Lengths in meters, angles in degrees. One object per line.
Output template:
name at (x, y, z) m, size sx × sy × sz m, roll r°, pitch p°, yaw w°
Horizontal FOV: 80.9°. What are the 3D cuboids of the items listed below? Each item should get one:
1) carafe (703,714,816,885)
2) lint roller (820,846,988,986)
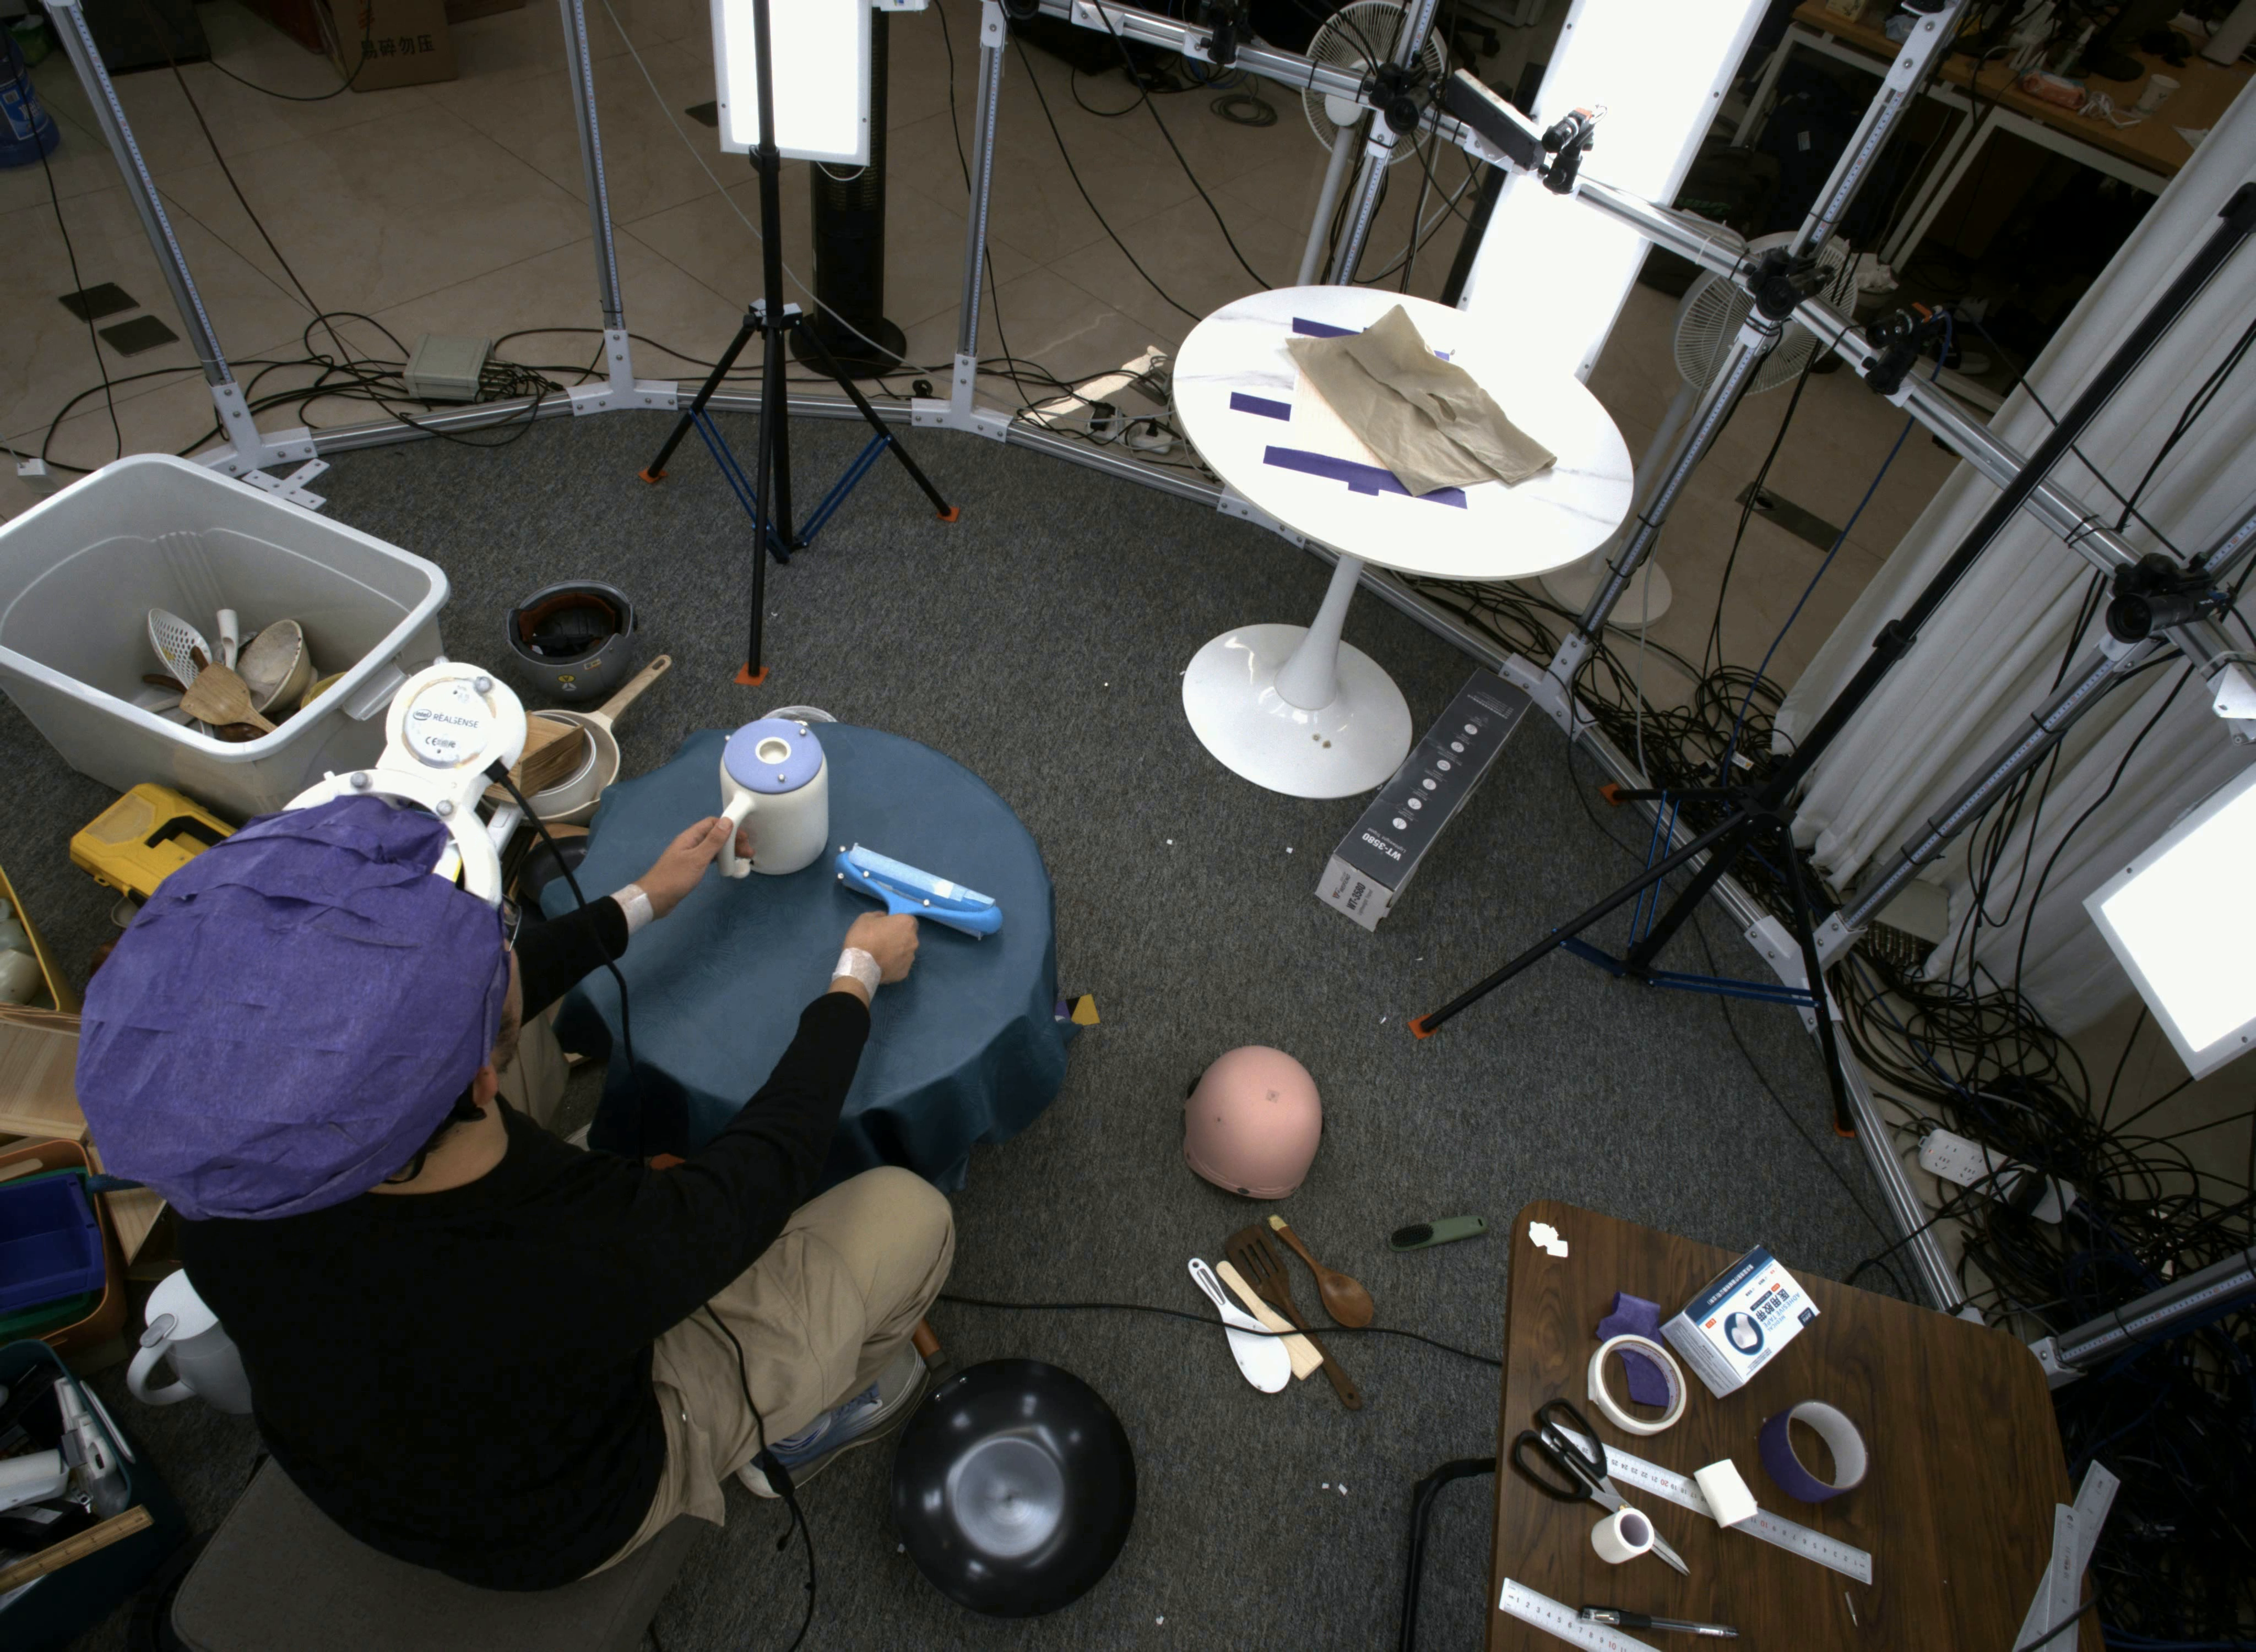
carafe at (-0.471, -0.021, 1.611) m, size 0.130 × 0.186 × 0.189 m, roll 22°, pitch 53°, yaw 6°
lint roller at (-0.299, 0.117, 1.616) m, size 0.227 × 0.069 × 0.178 m, roll 22°, pitch 38°, yaw -2°
